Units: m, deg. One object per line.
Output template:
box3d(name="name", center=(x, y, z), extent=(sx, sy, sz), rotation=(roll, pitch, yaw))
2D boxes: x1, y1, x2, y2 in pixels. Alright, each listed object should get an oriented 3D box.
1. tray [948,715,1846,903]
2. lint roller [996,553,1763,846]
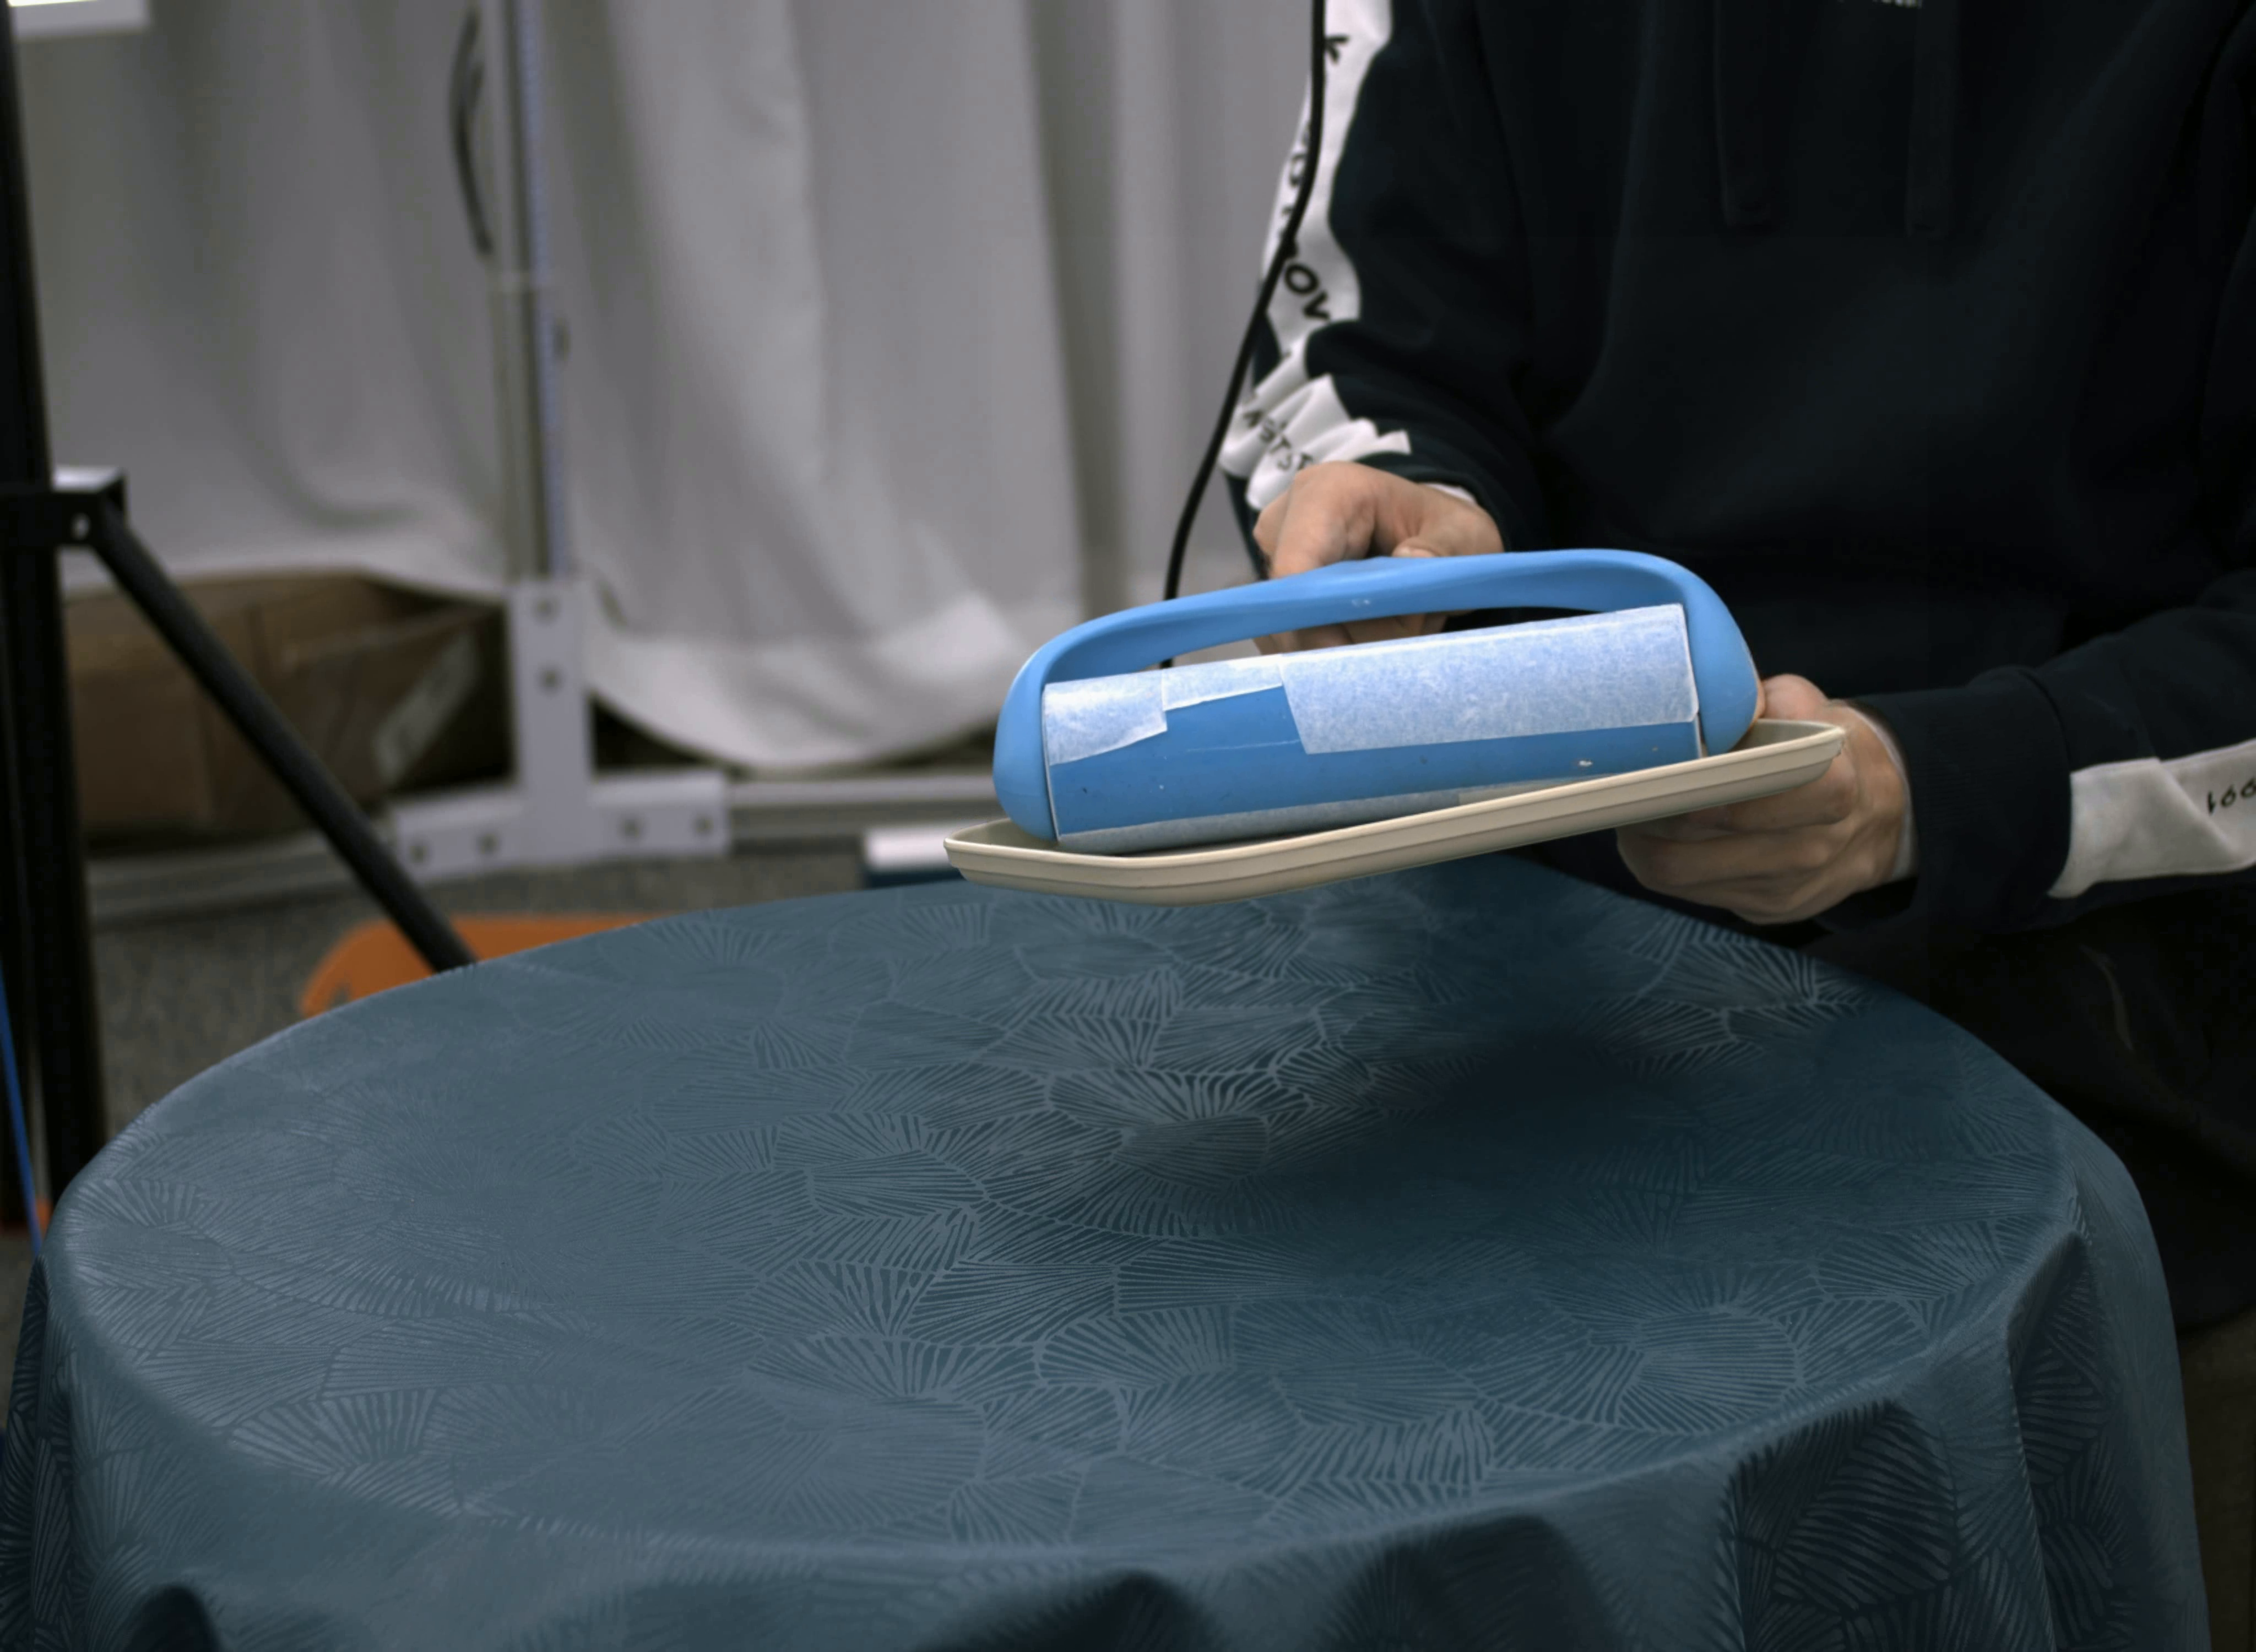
box3d(name="tray", center=(0.079, -0.006, 1.567), extent=(0.235, 0.017, 0.174), rotation=(-11, 6, -24))
box3d(name="lint roller", center=(0.073, -0.048, 1.633), extent=(0.228, 0.067, 0.181), rotation=(-9, 19, 4))
